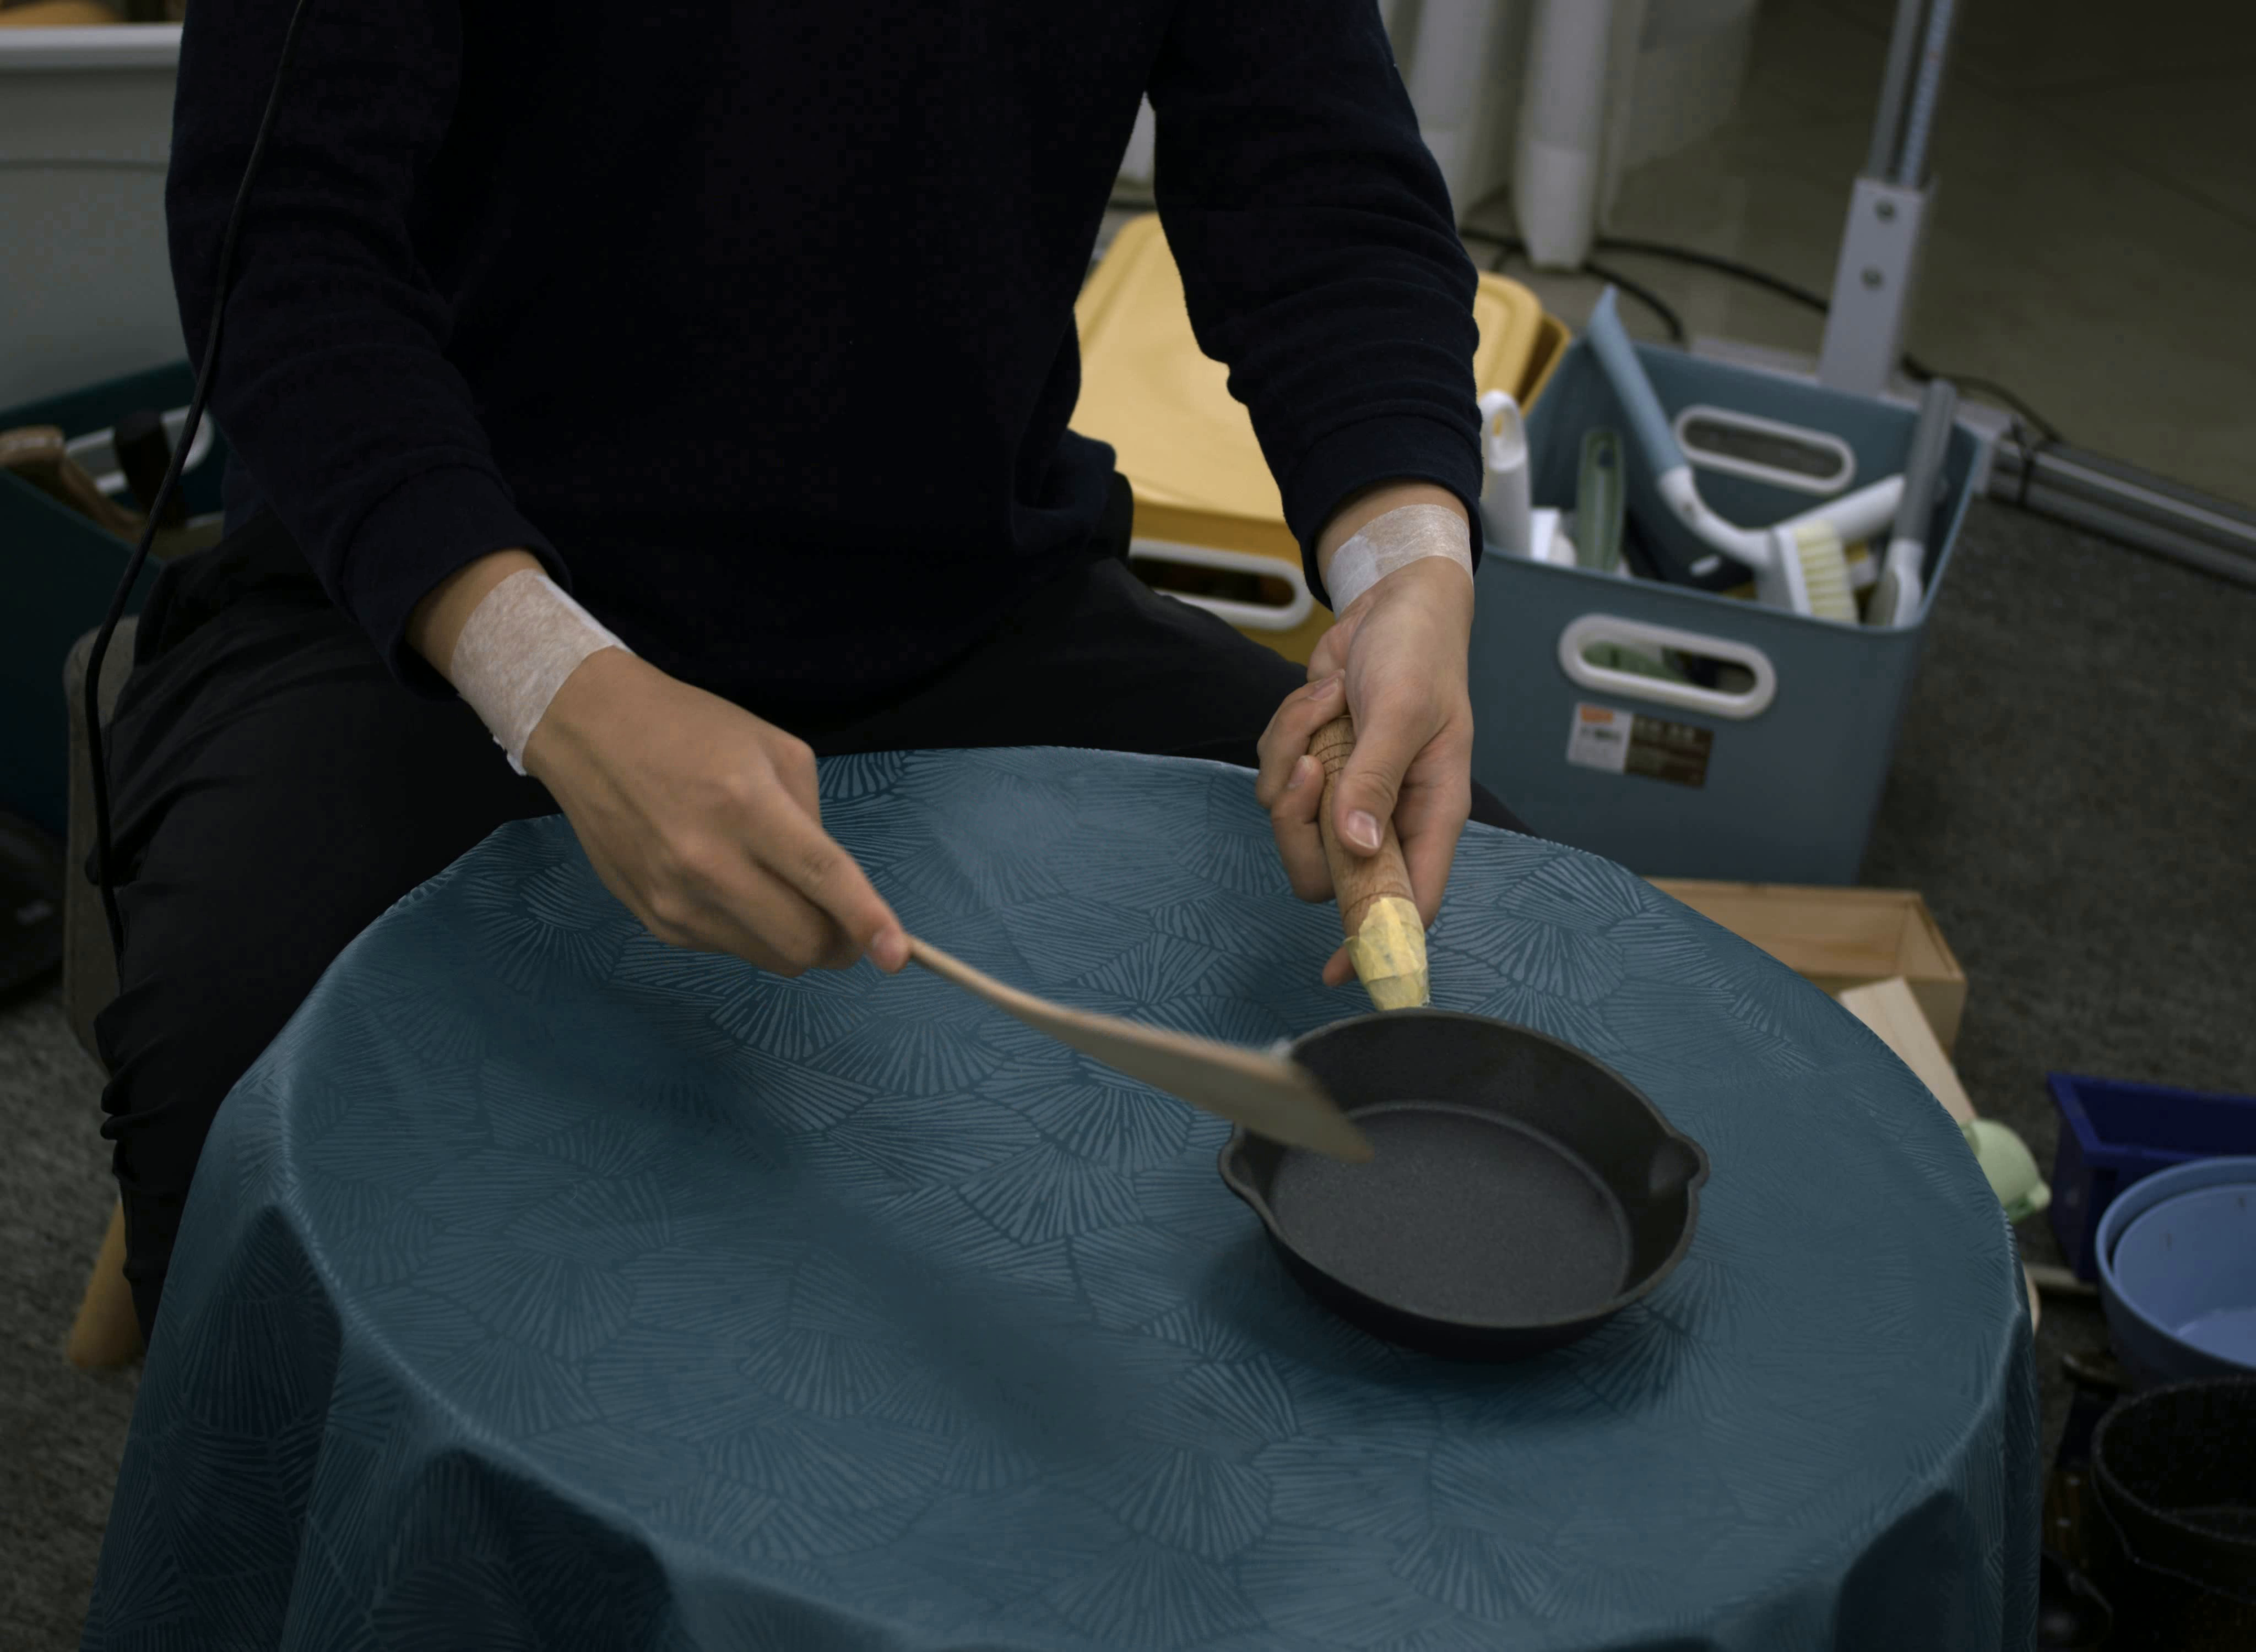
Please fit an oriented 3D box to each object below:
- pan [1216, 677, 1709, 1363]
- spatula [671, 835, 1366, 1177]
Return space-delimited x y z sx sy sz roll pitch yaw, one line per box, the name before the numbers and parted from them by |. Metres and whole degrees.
pan | 0.098 0.064 1.830 0.168 0.049 0.327 1 39 -11
spatula | -0.046 0.052 1.733 0.330 0.016 0.079 24 -11 45
